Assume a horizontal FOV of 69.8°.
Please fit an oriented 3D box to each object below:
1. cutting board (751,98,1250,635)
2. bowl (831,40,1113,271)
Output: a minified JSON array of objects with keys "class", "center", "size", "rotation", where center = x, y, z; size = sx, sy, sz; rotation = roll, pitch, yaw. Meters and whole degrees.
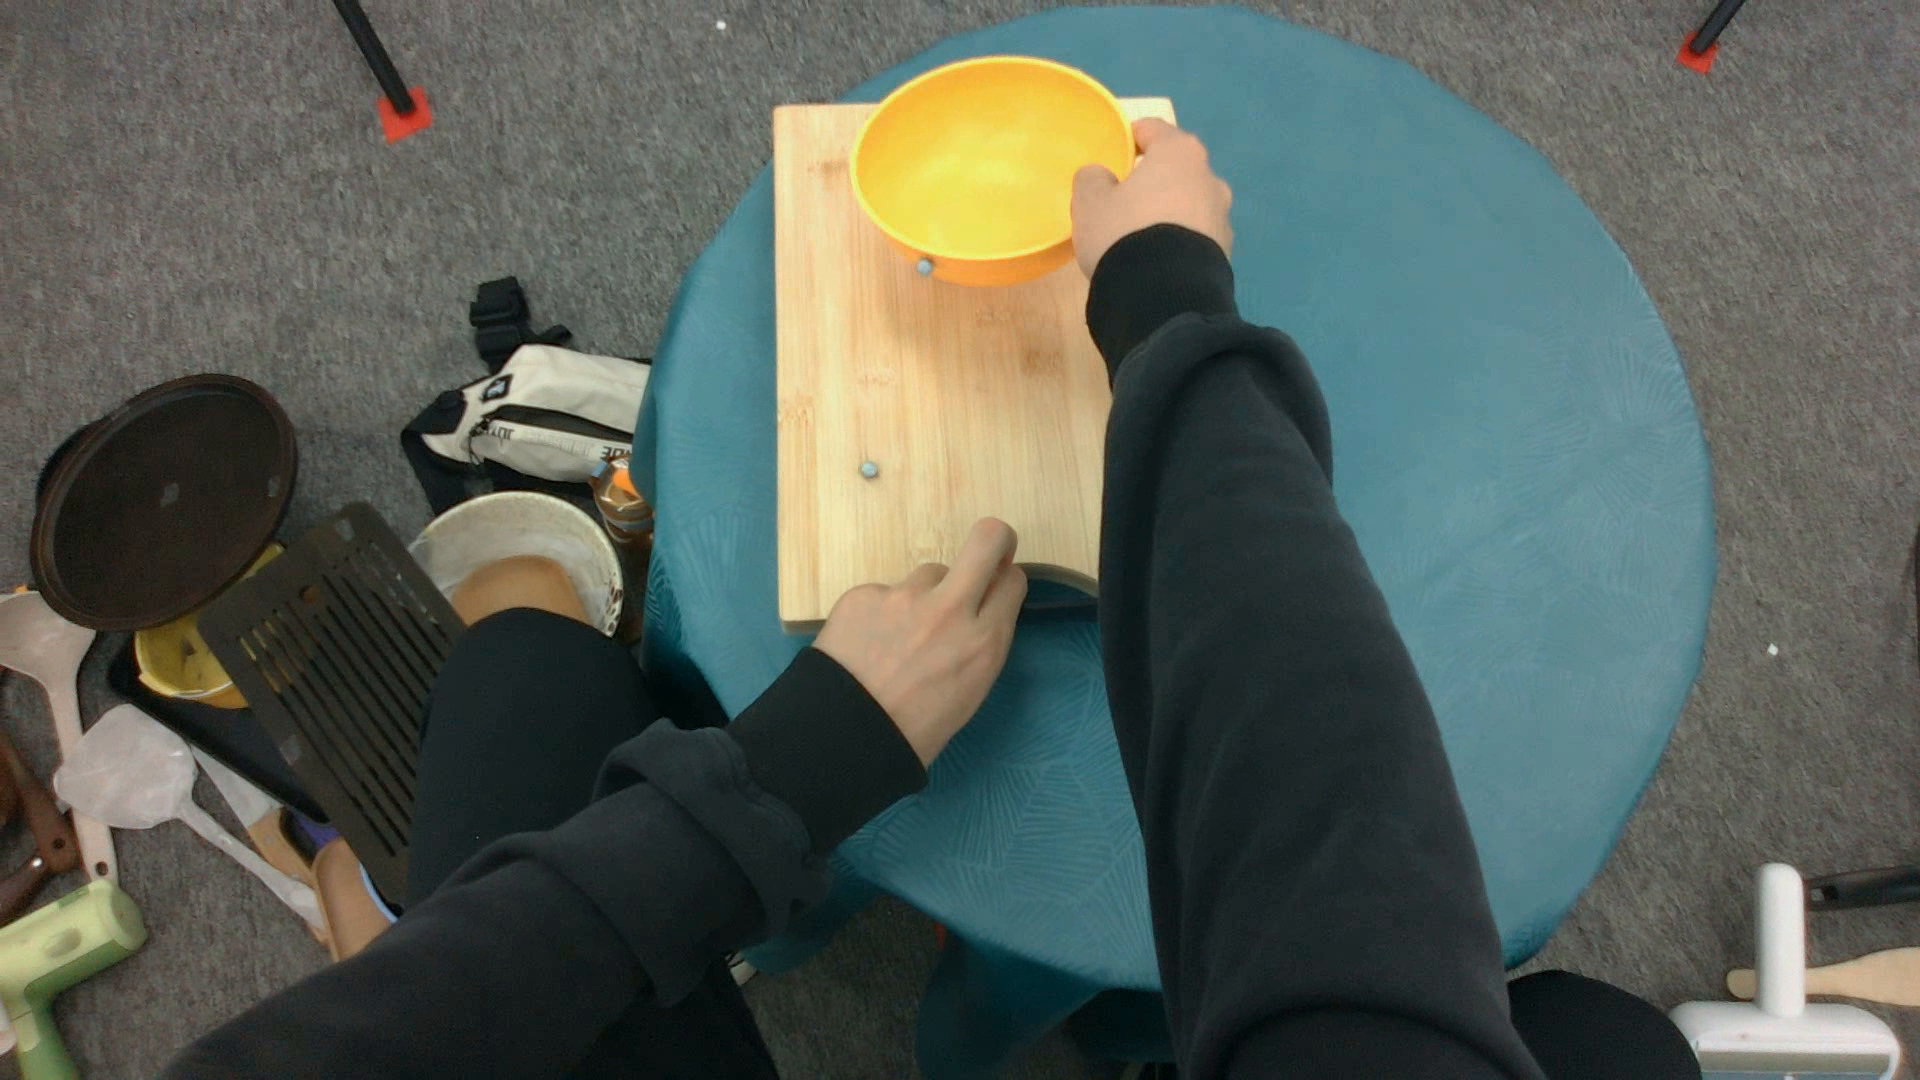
[{"class":"cutting board","center":[0.008,-0.112,0.750],"size":[0.251,0.023,0.350],"rotation":[-3,61,-5]},{"class":"bowl","center":[0.008,-0.190,0.722],"size":[0.145,0.060,0.146],"rotation":[-1,60,2]}]
